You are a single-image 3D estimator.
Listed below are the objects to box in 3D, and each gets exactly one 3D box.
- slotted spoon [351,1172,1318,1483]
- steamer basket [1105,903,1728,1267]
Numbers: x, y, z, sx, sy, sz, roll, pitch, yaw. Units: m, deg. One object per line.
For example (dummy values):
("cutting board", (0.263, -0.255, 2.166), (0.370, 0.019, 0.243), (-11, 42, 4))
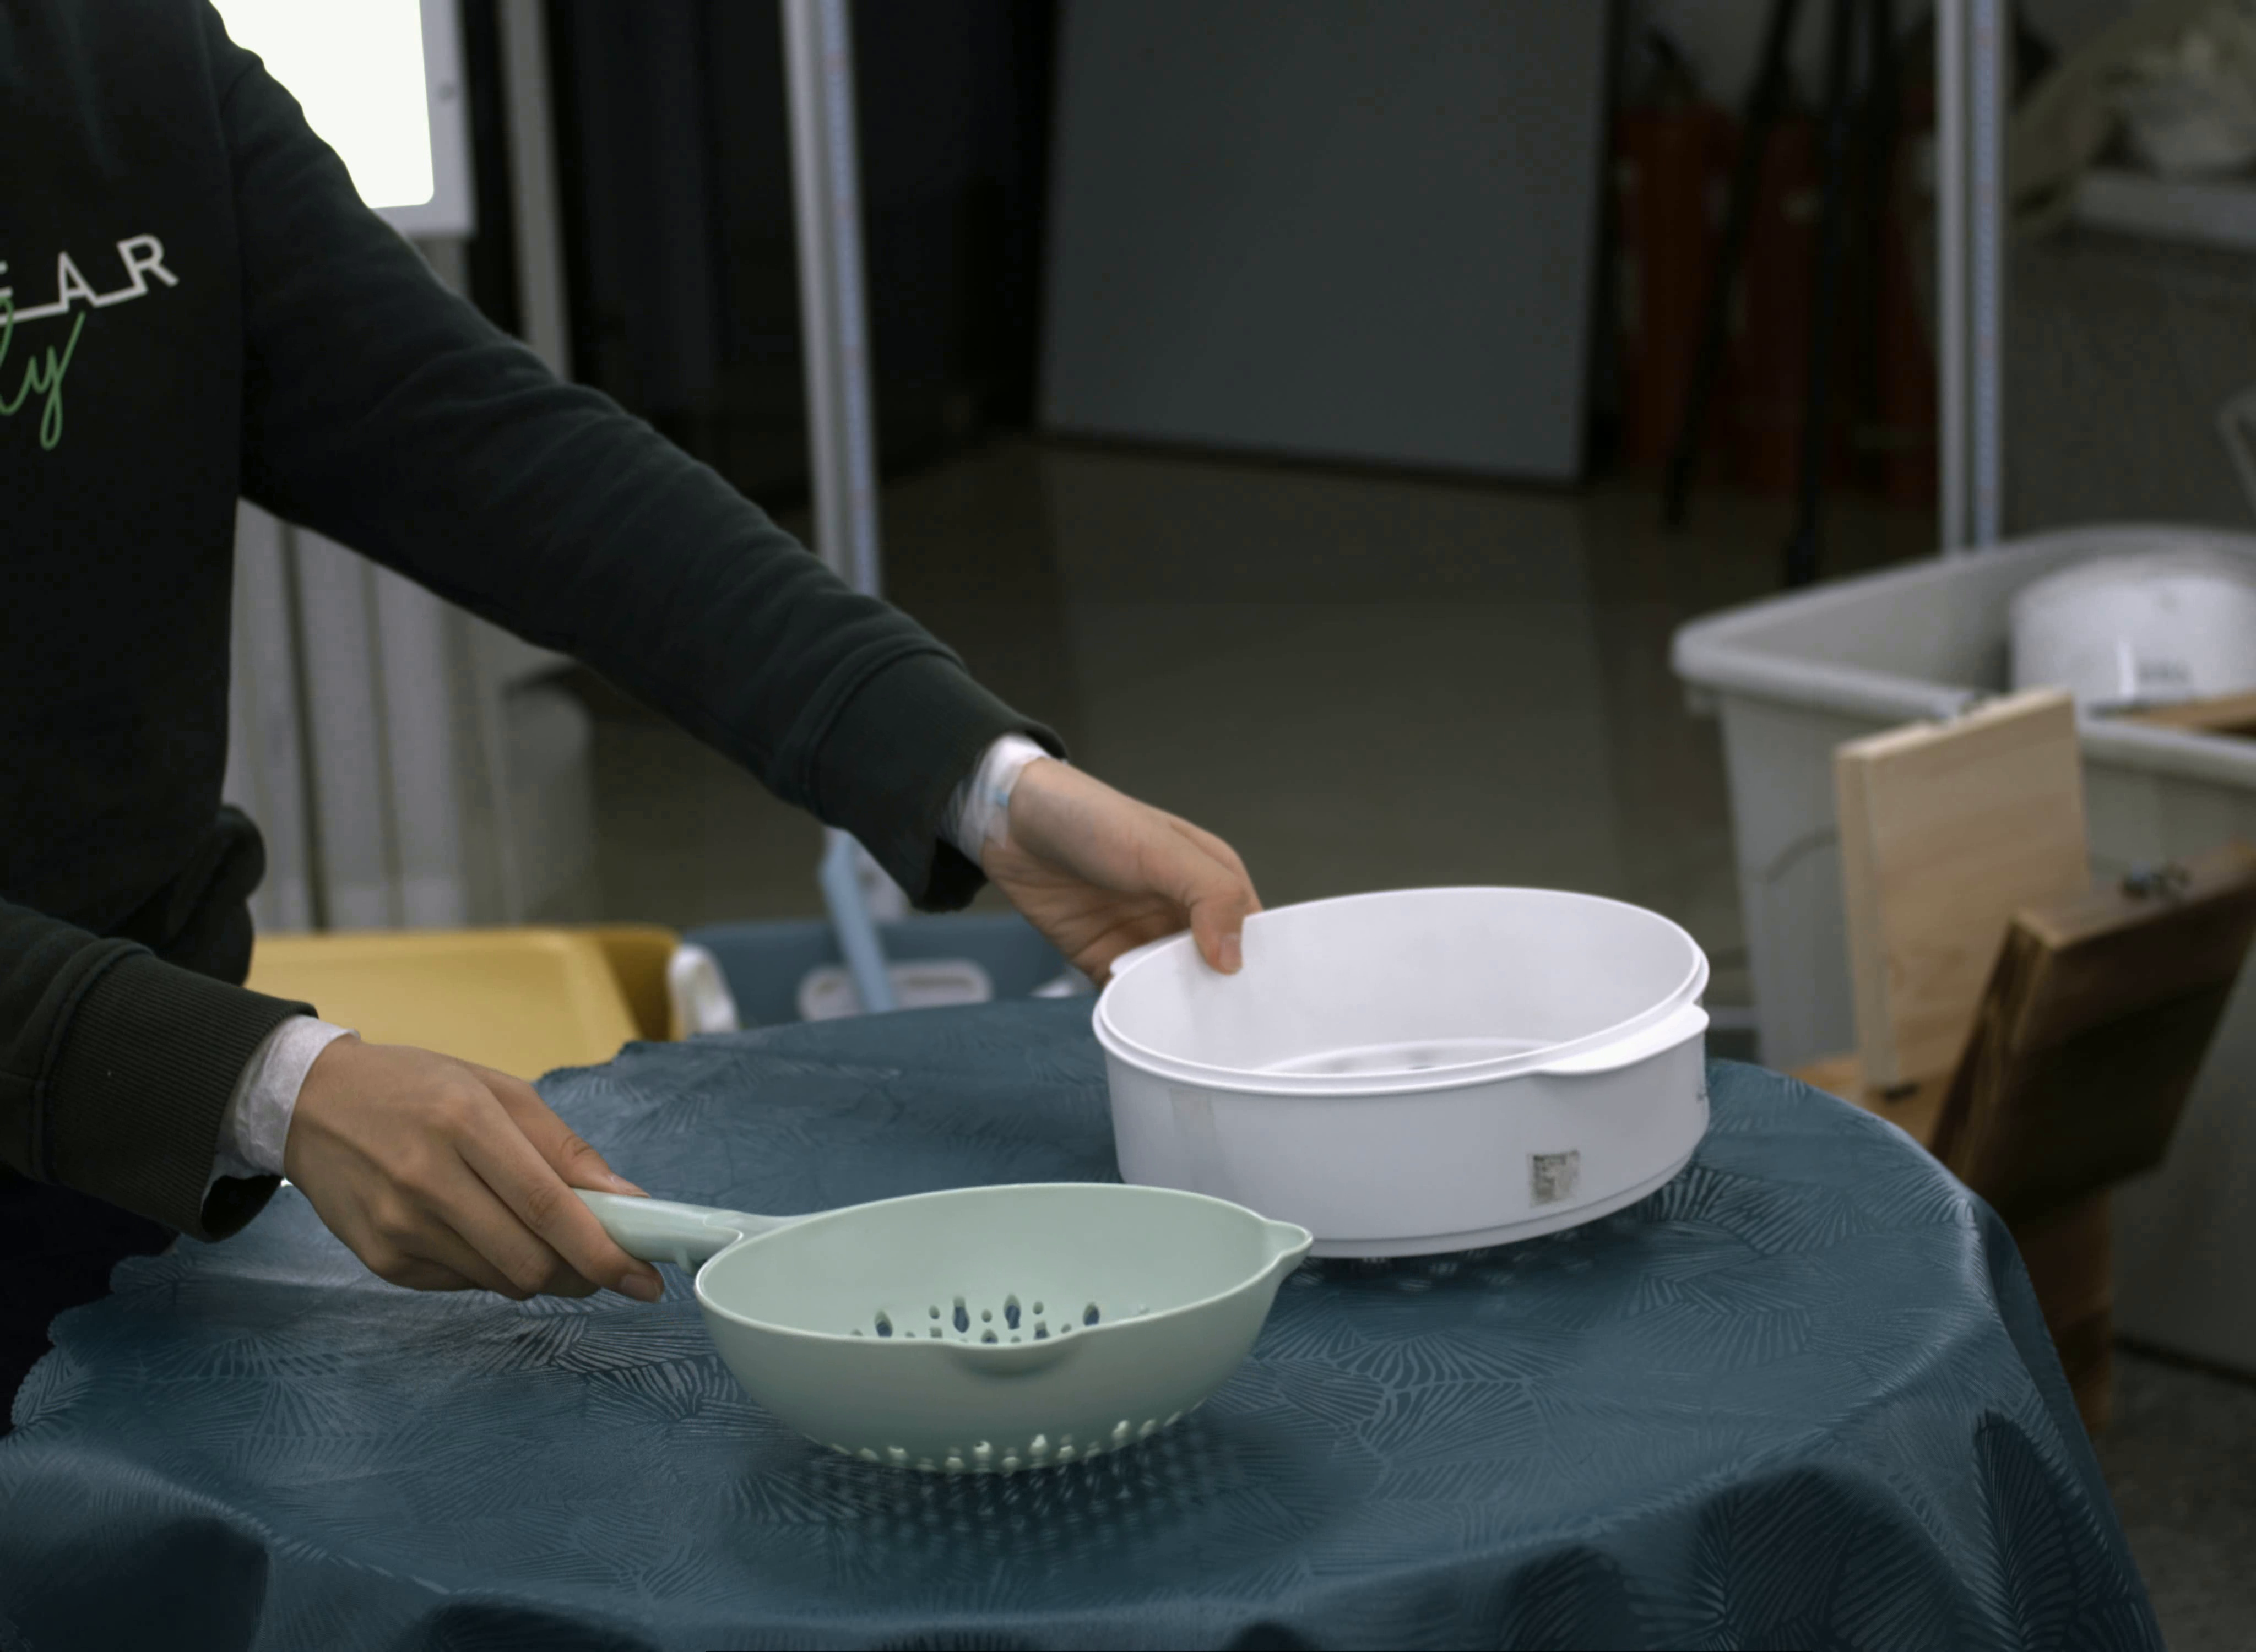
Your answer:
("slotted spoon", (-0.109, 0.131, 1.595), (0.362, 0.076, 0.166), (14, 19, 40))
("steamer basket", (0.094, 0.083, 1.734), (0.198, 0.070, 0.233), (-19, 18, -41))
